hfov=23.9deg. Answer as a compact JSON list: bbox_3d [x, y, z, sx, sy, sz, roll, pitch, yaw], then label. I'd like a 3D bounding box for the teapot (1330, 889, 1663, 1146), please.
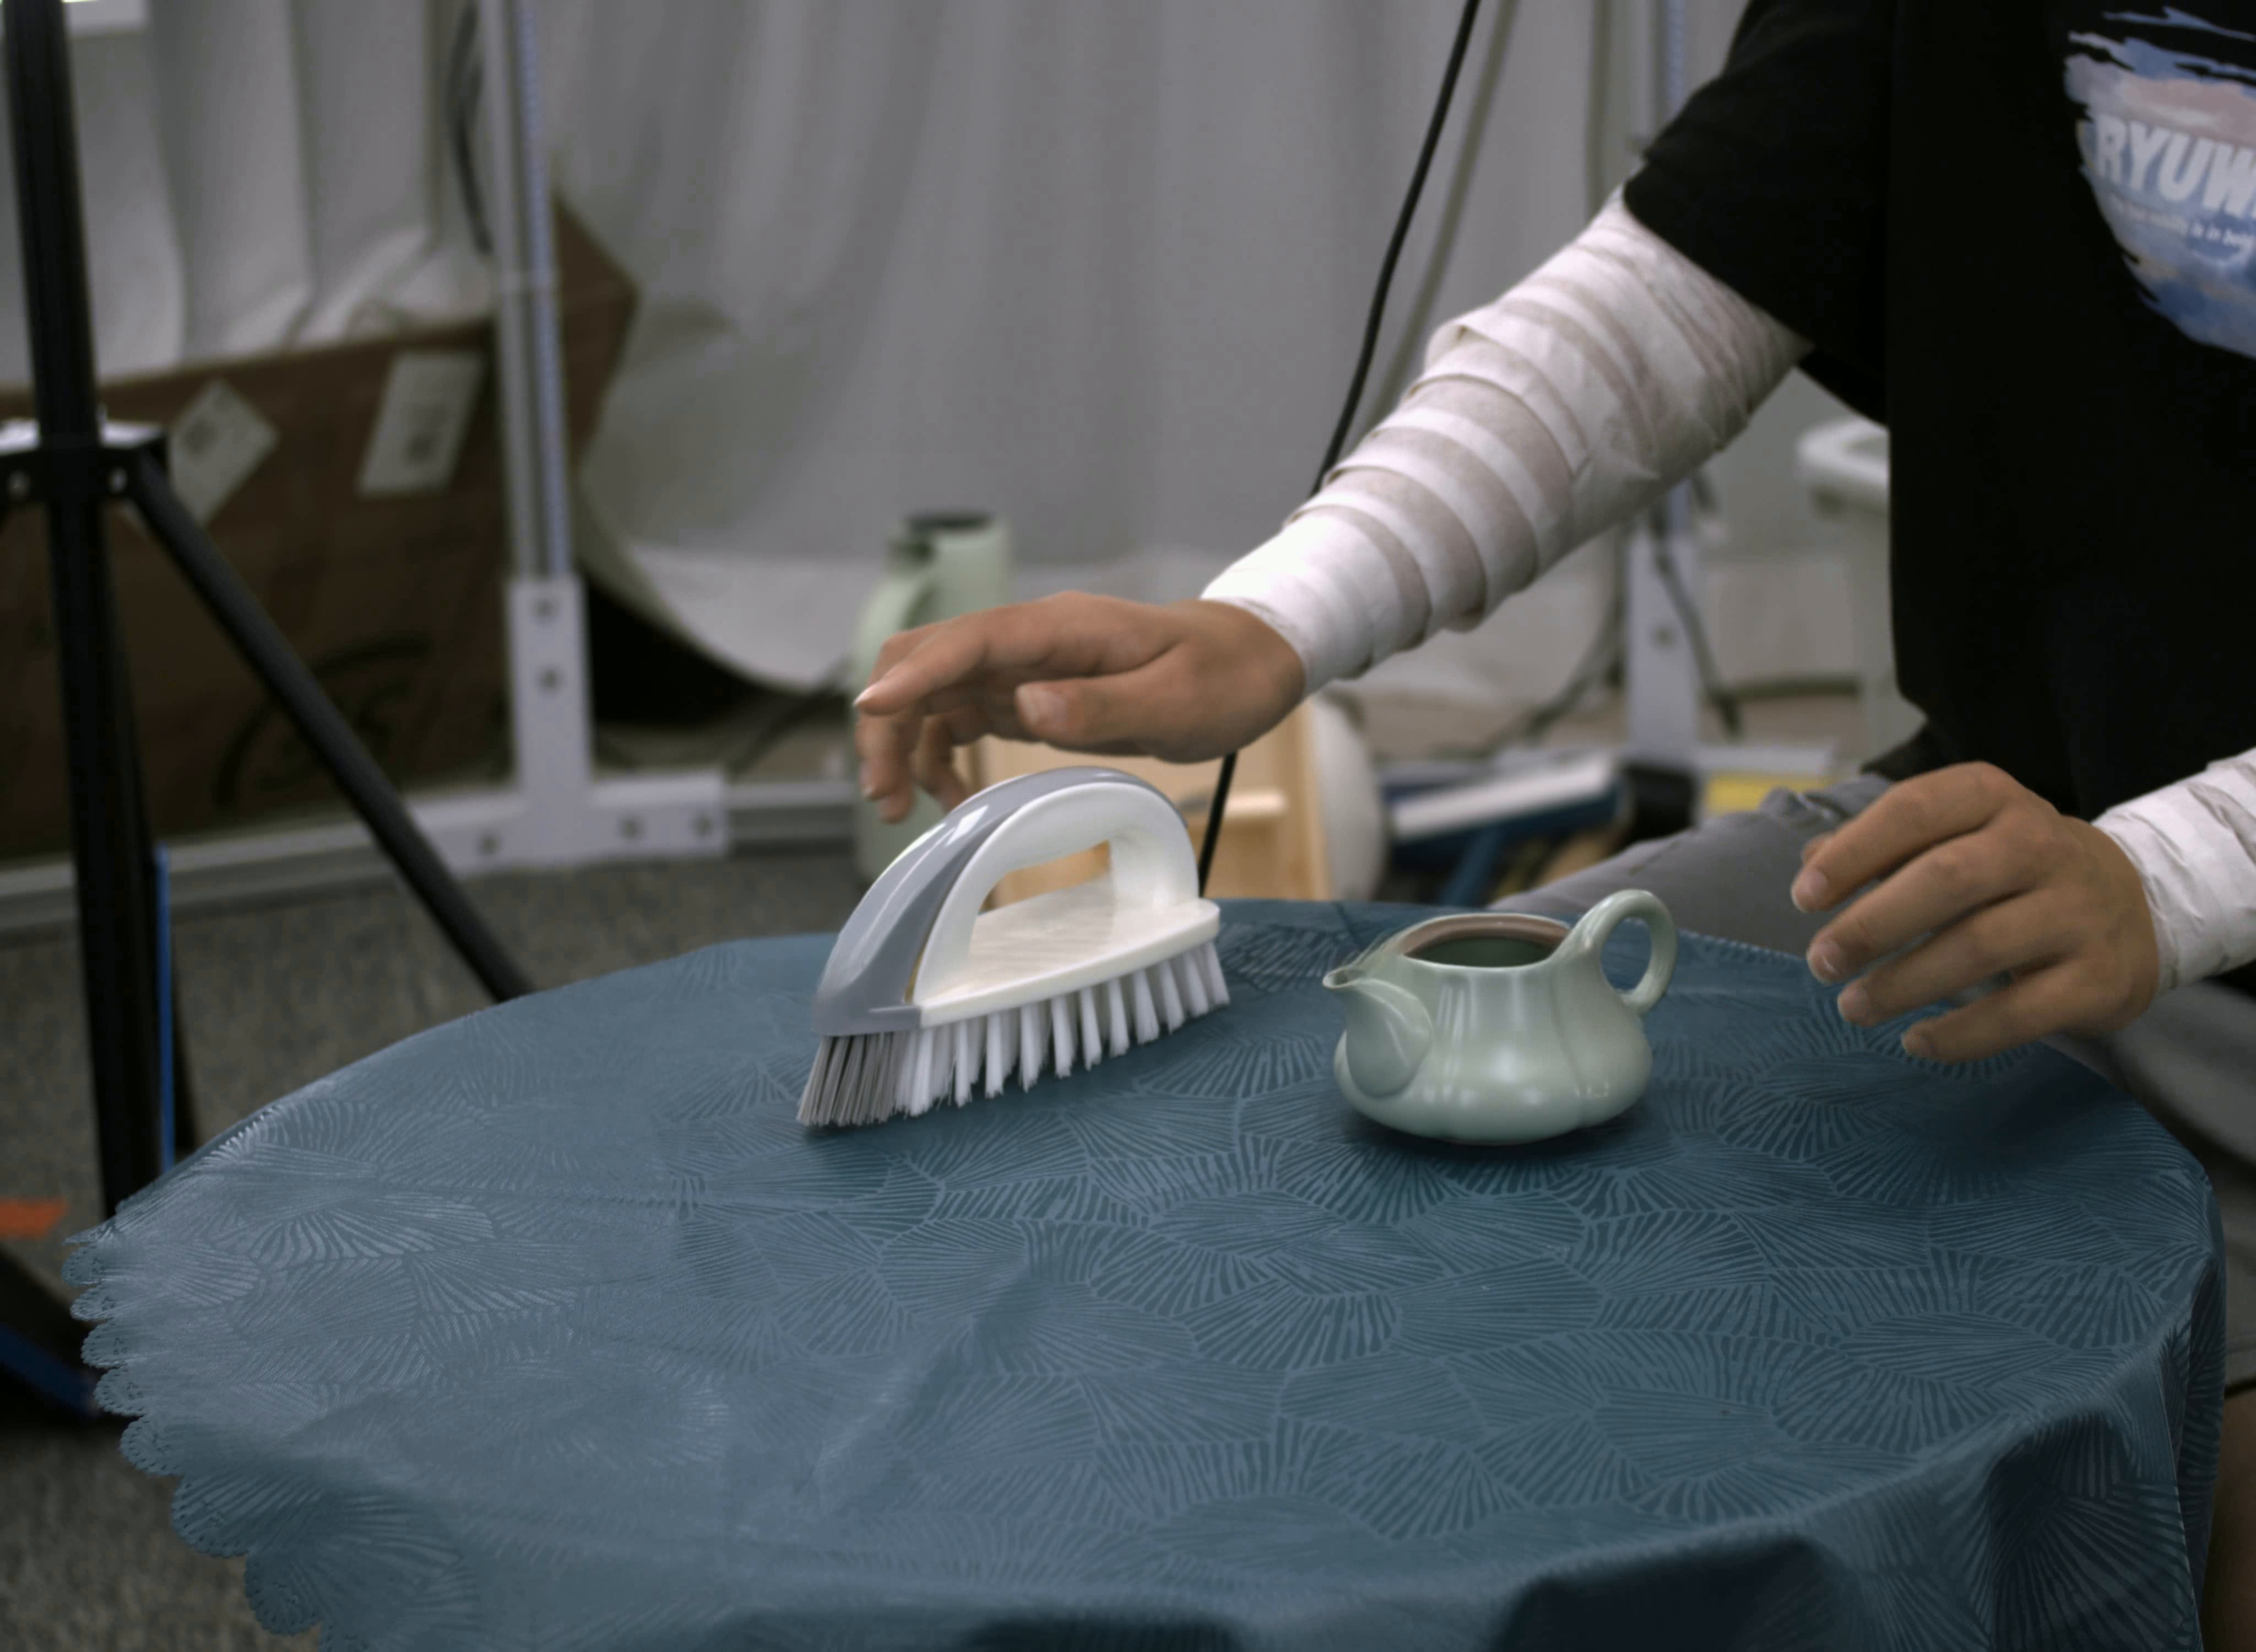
[{"bbox_3d":[0.113,0.060,1.603,0.134,0.061,0.098,-14,17,-36],"label":"teapot"}]

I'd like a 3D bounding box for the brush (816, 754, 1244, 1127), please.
[{"bbox_3d":[-0.038,0.032,1.668,0.063,0.094,0.171,8,19,43],"label":"brush"}]
